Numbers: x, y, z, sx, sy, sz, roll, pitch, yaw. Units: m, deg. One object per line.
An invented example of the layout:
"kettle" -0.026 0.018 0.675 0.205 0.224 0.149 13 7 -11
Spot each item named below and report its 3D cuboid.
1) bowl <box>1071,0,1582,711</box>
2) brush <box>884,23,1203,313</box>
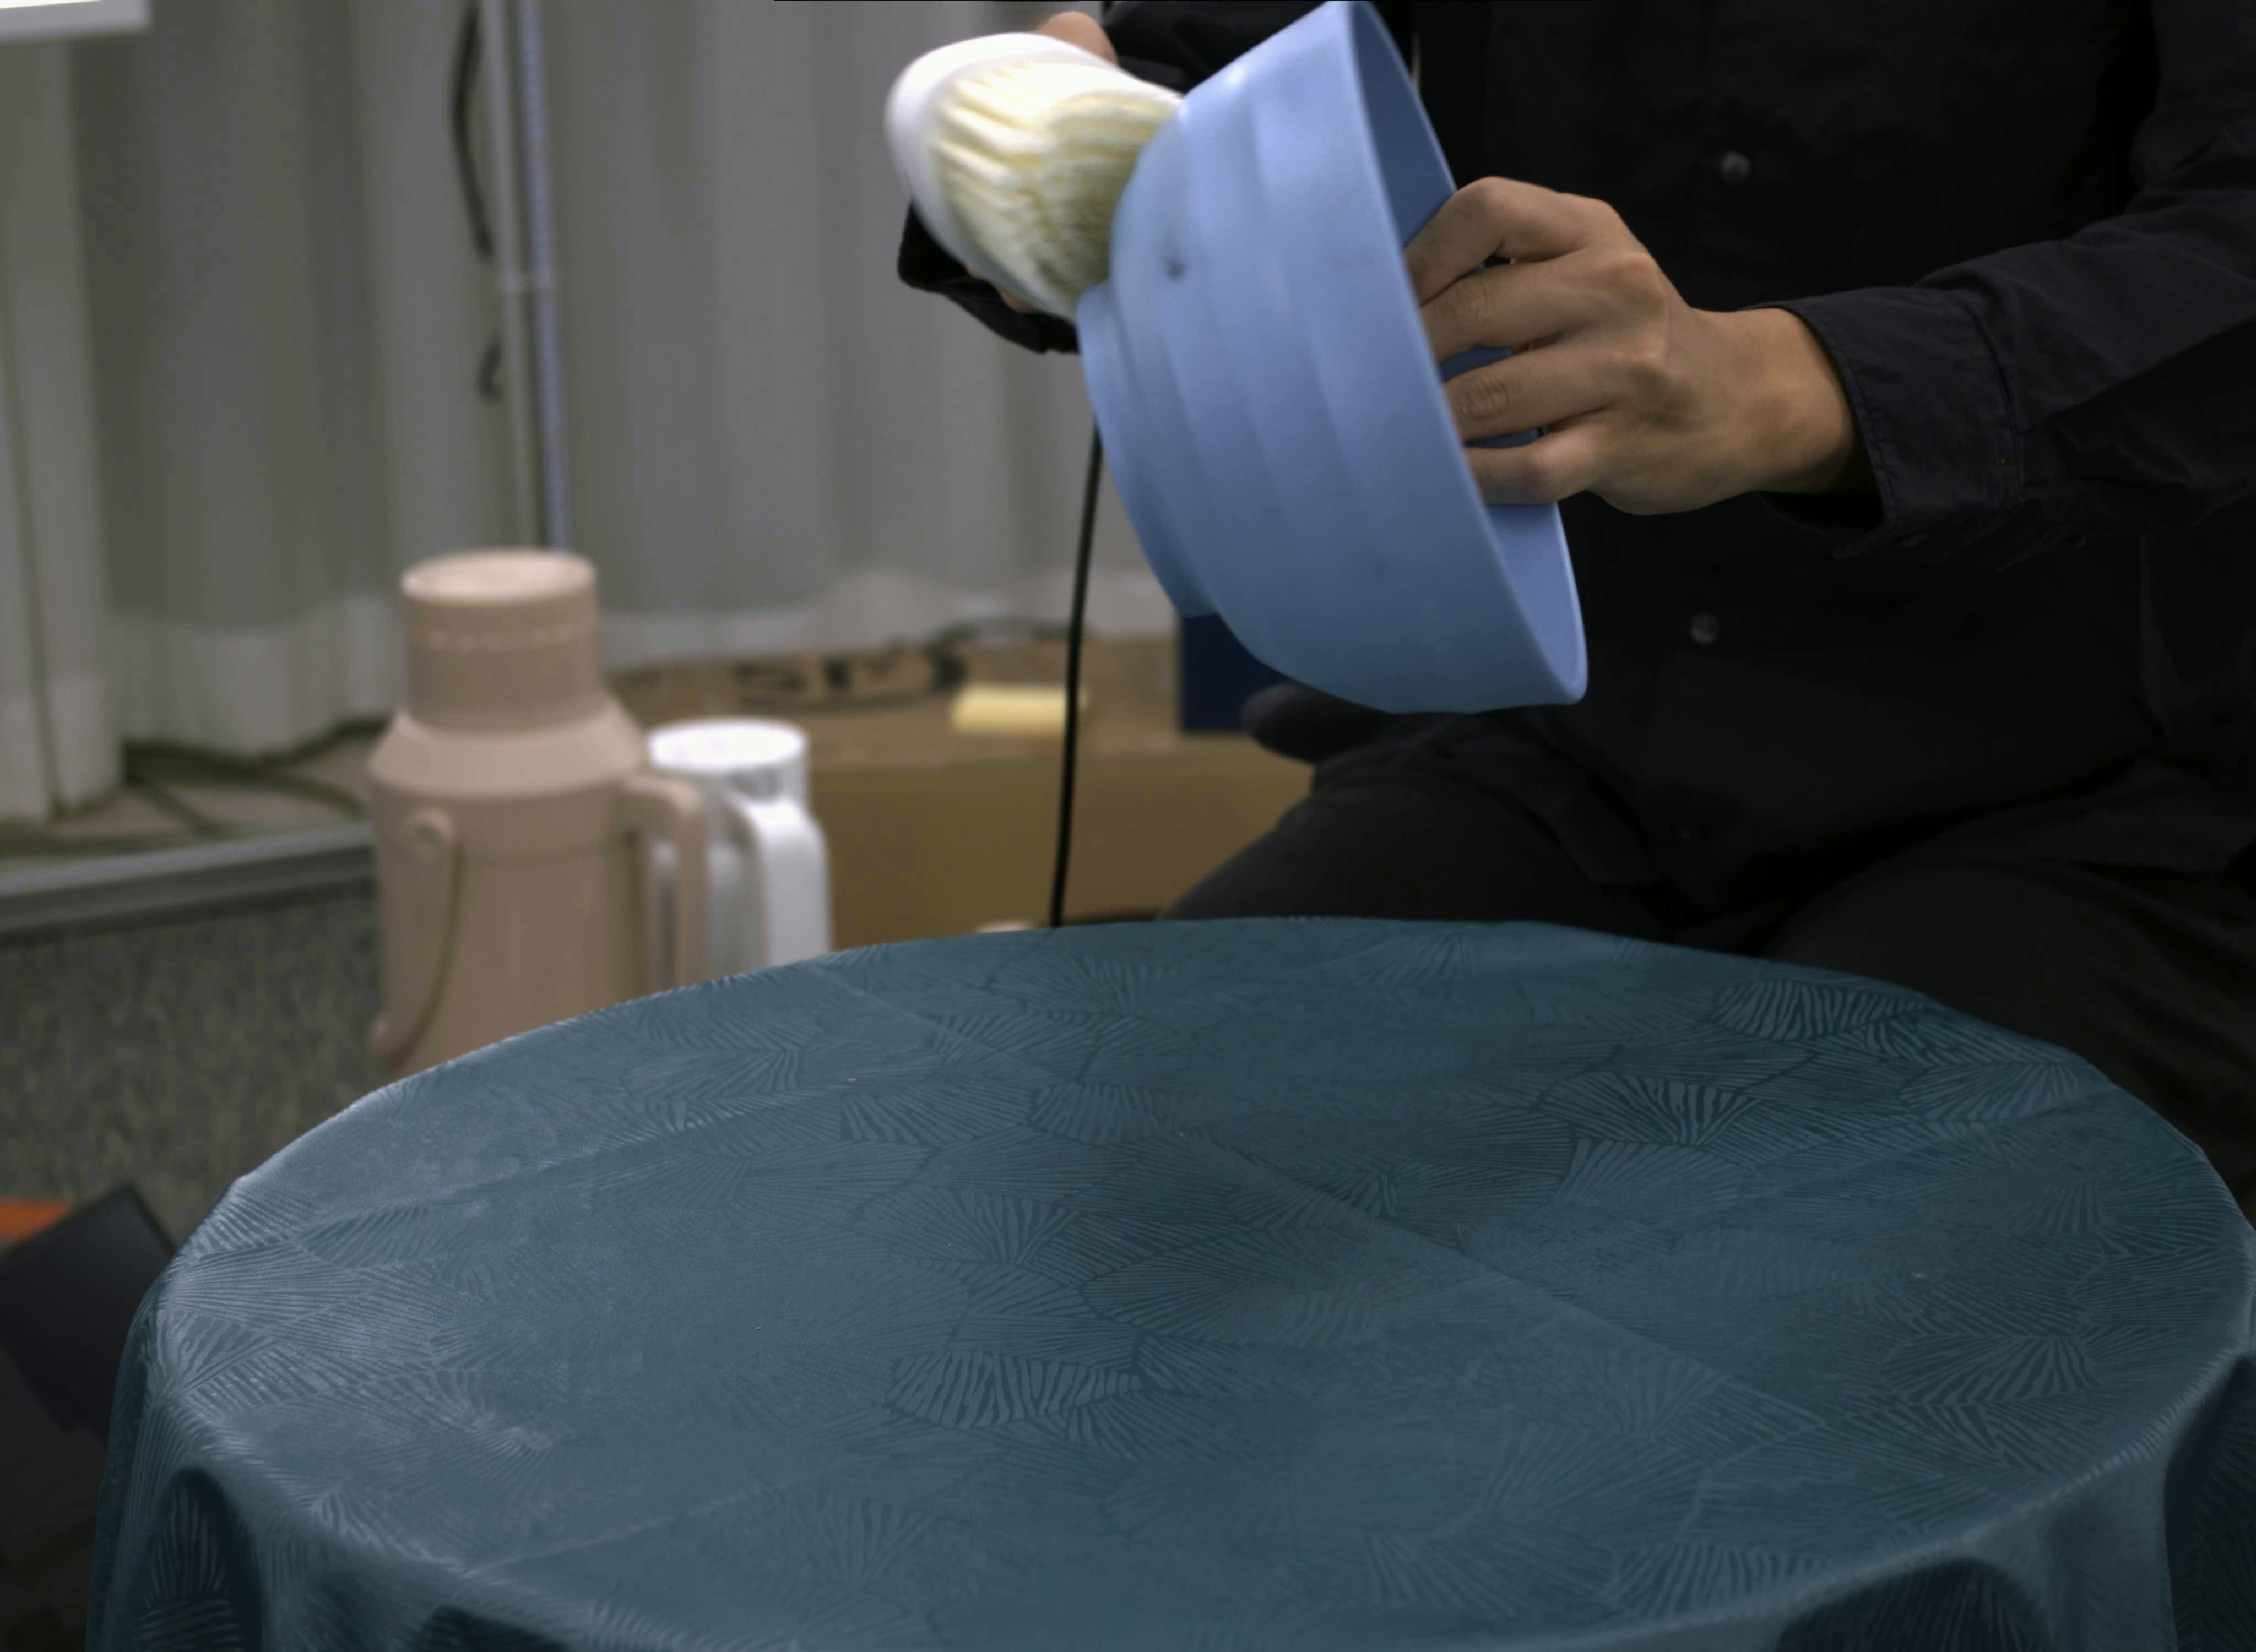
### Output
"bowl" 0.045 -0.113 1.403 0.096 0.196 0.196 -18 13 12
"brush" 0.005 -0.179 1.526 0.083 0.085 0.322 -28 -6 10
